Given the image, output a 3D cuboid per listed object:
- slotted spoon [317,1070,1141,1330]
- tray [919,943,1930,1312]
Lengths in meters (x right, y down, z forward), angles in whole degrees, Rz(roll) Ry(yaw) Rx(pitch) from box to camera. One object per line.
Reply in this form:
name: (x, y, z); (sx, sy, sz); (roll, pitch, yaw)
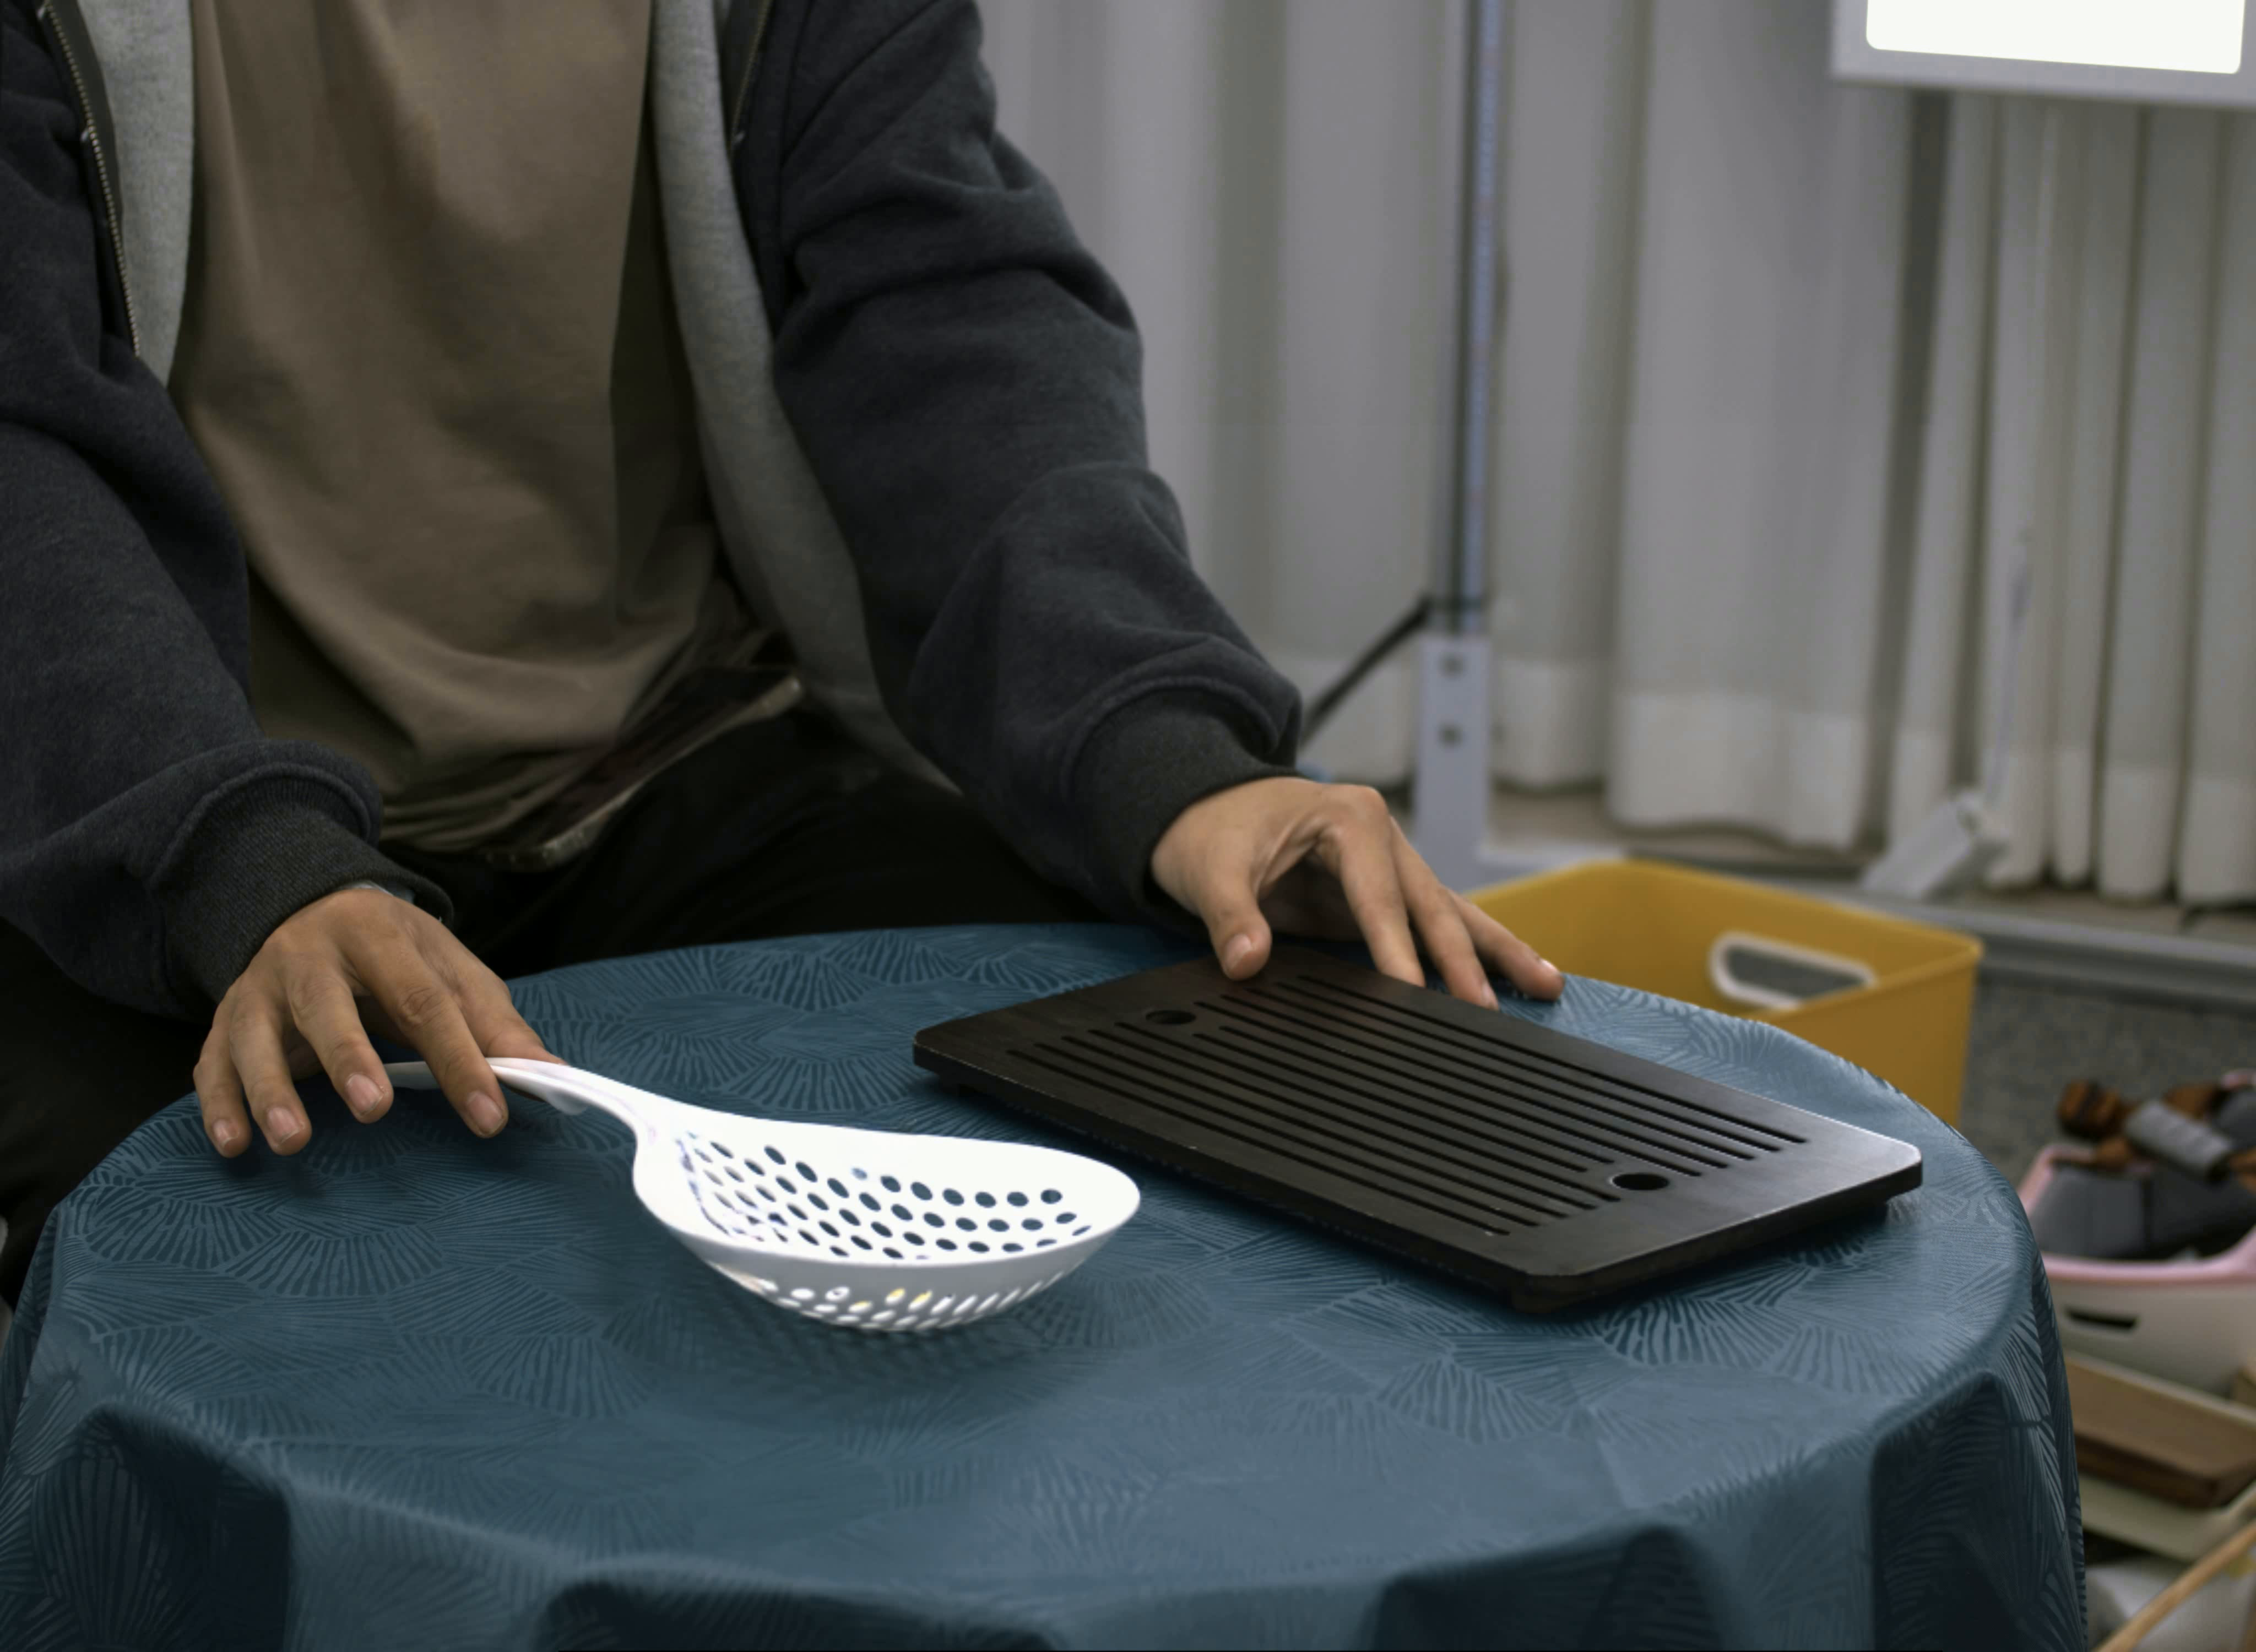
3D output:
slotted spoon: (-0.138, 0.099, 1.587); (0.137, 0.051, 0.343); (-13, 20, -40)
tray: (0.088, 0.092, 1.667); (0.171, 0.019, 0.302); (-13, 20, -40)
